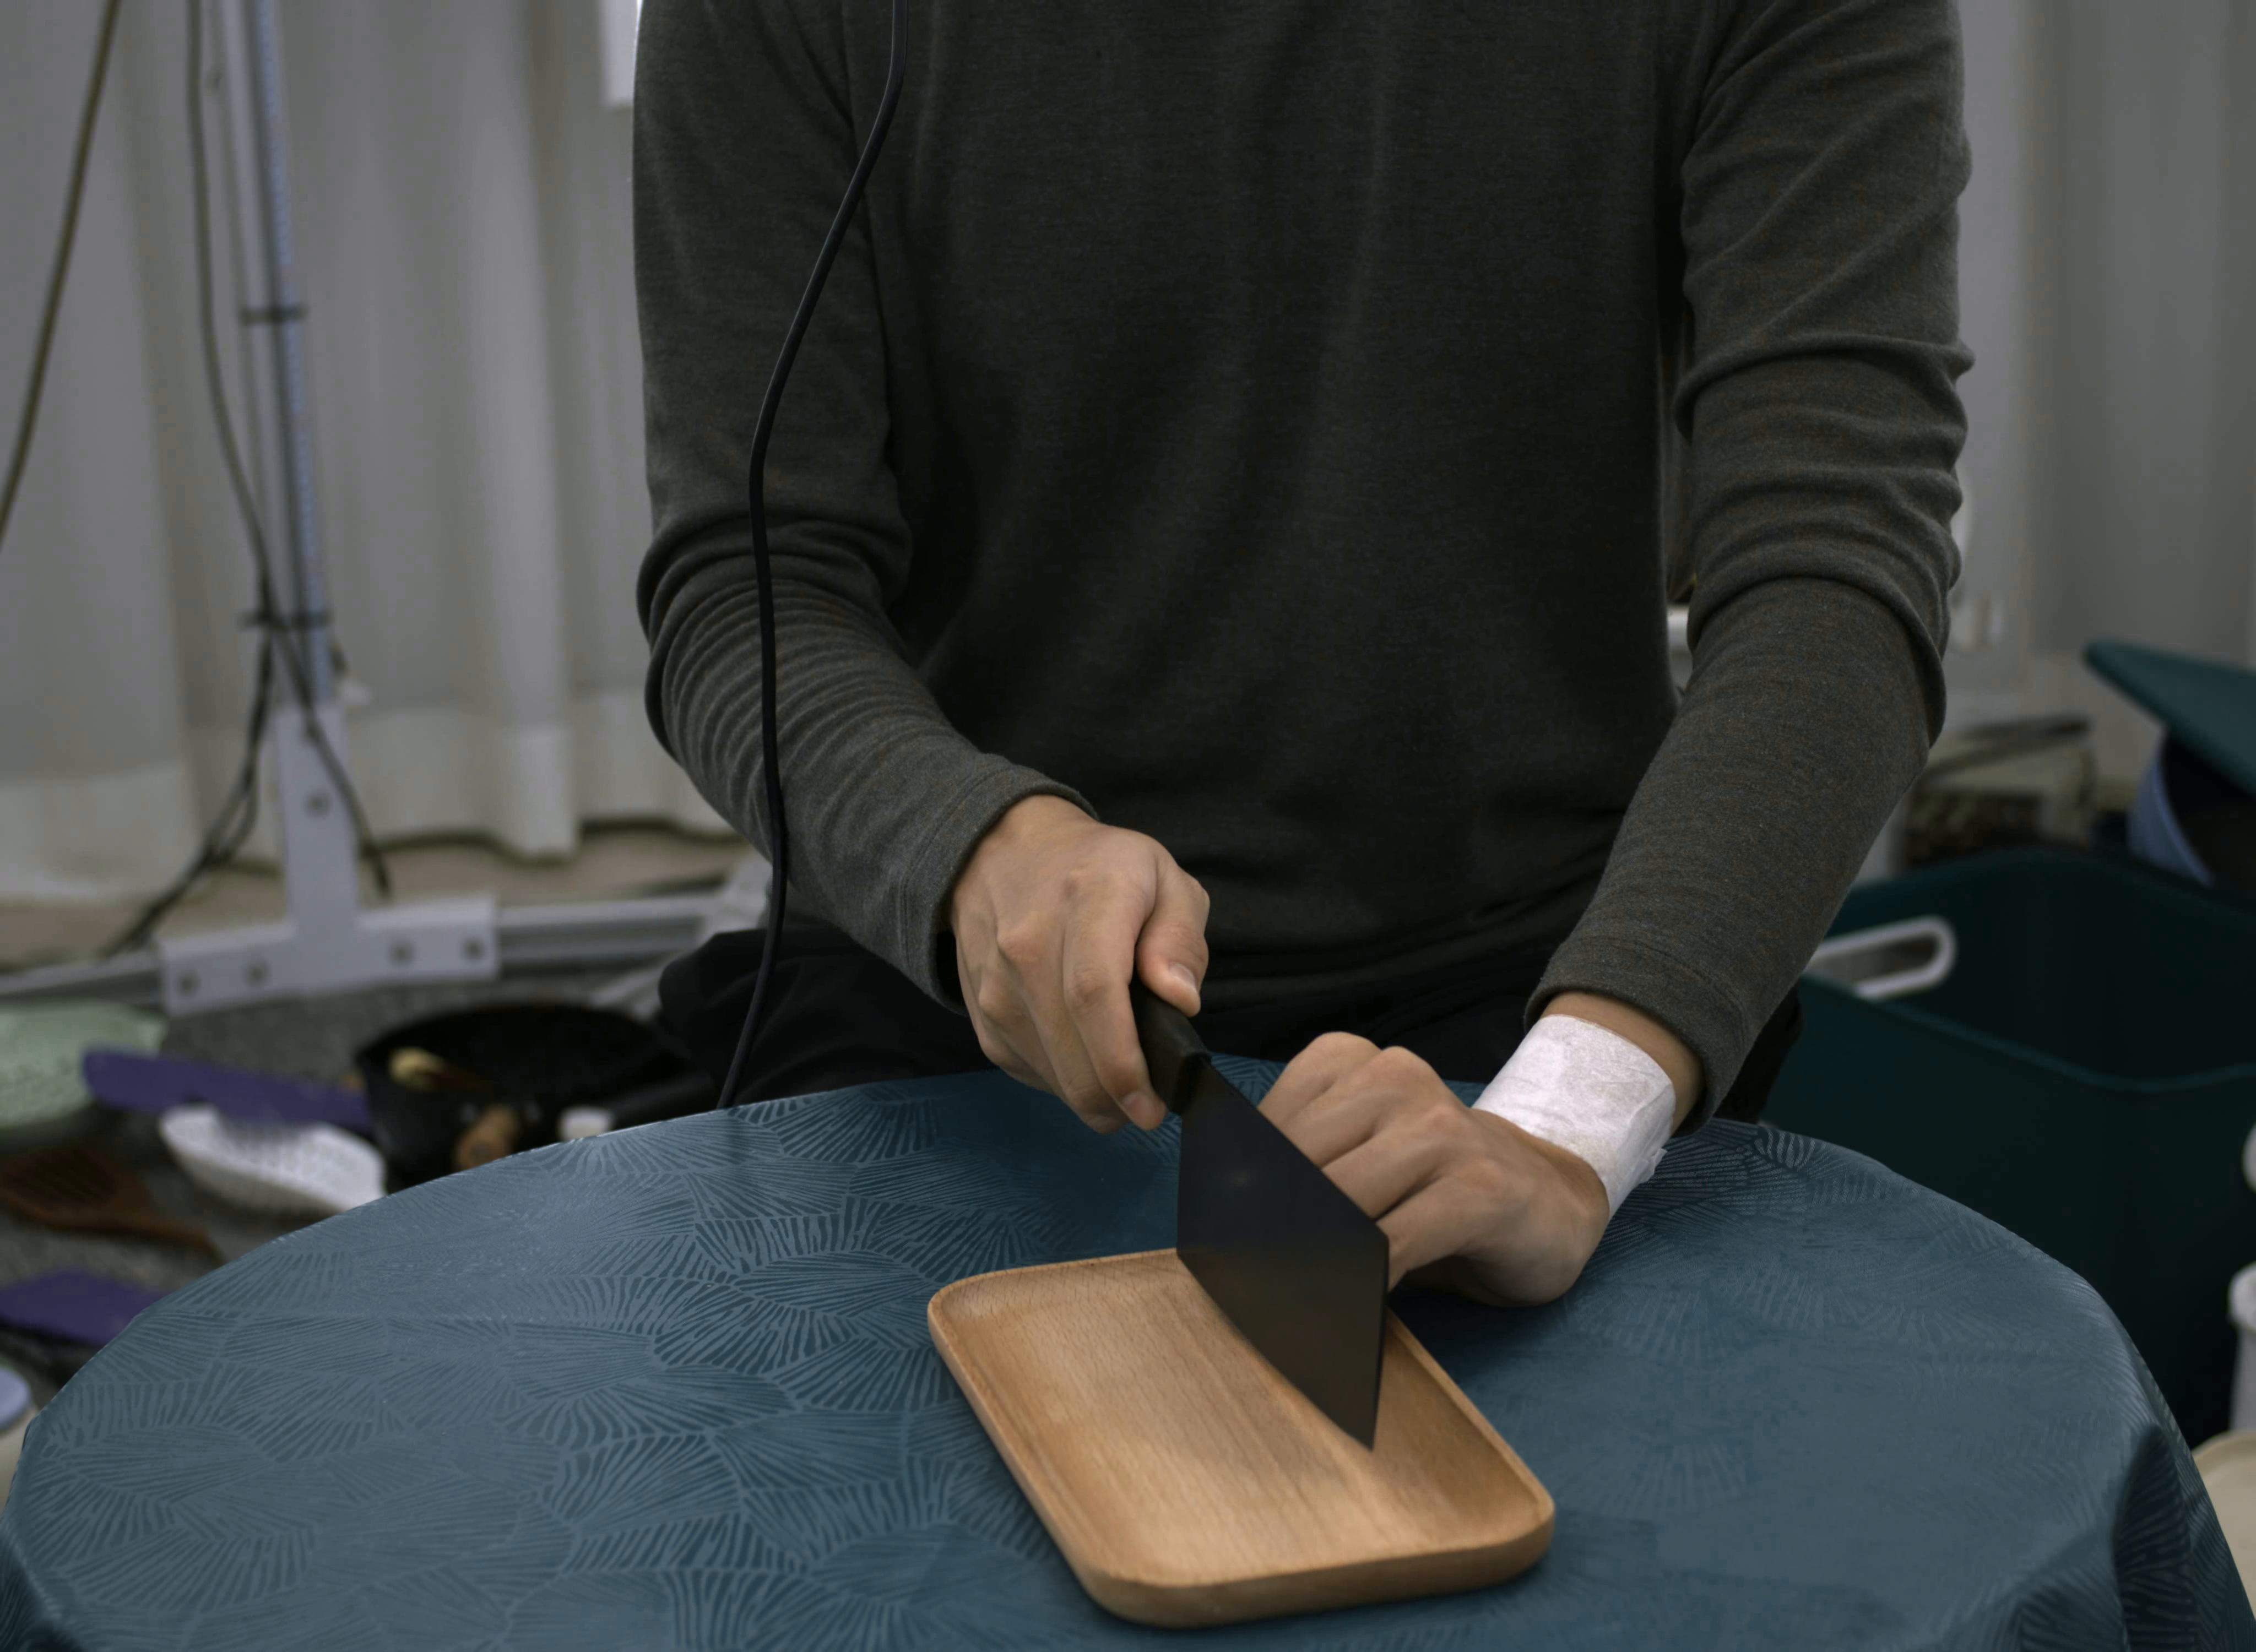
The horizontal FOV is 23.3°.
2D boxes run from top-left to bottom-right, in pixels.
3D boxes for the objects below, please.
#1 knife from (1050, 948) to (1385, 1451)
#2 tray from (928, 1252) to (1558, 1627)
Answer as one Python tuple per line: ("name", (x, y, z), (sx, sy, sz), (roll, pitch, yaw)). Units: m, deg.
("knife", (0.025, 0.099, 1.572), (0.021, 0.080, 0.305), (1, 18, -17))
("tray", (0.027, 0.164, 1.498), (0.130, 0.023, 0.252), (-3, 13, -12))
